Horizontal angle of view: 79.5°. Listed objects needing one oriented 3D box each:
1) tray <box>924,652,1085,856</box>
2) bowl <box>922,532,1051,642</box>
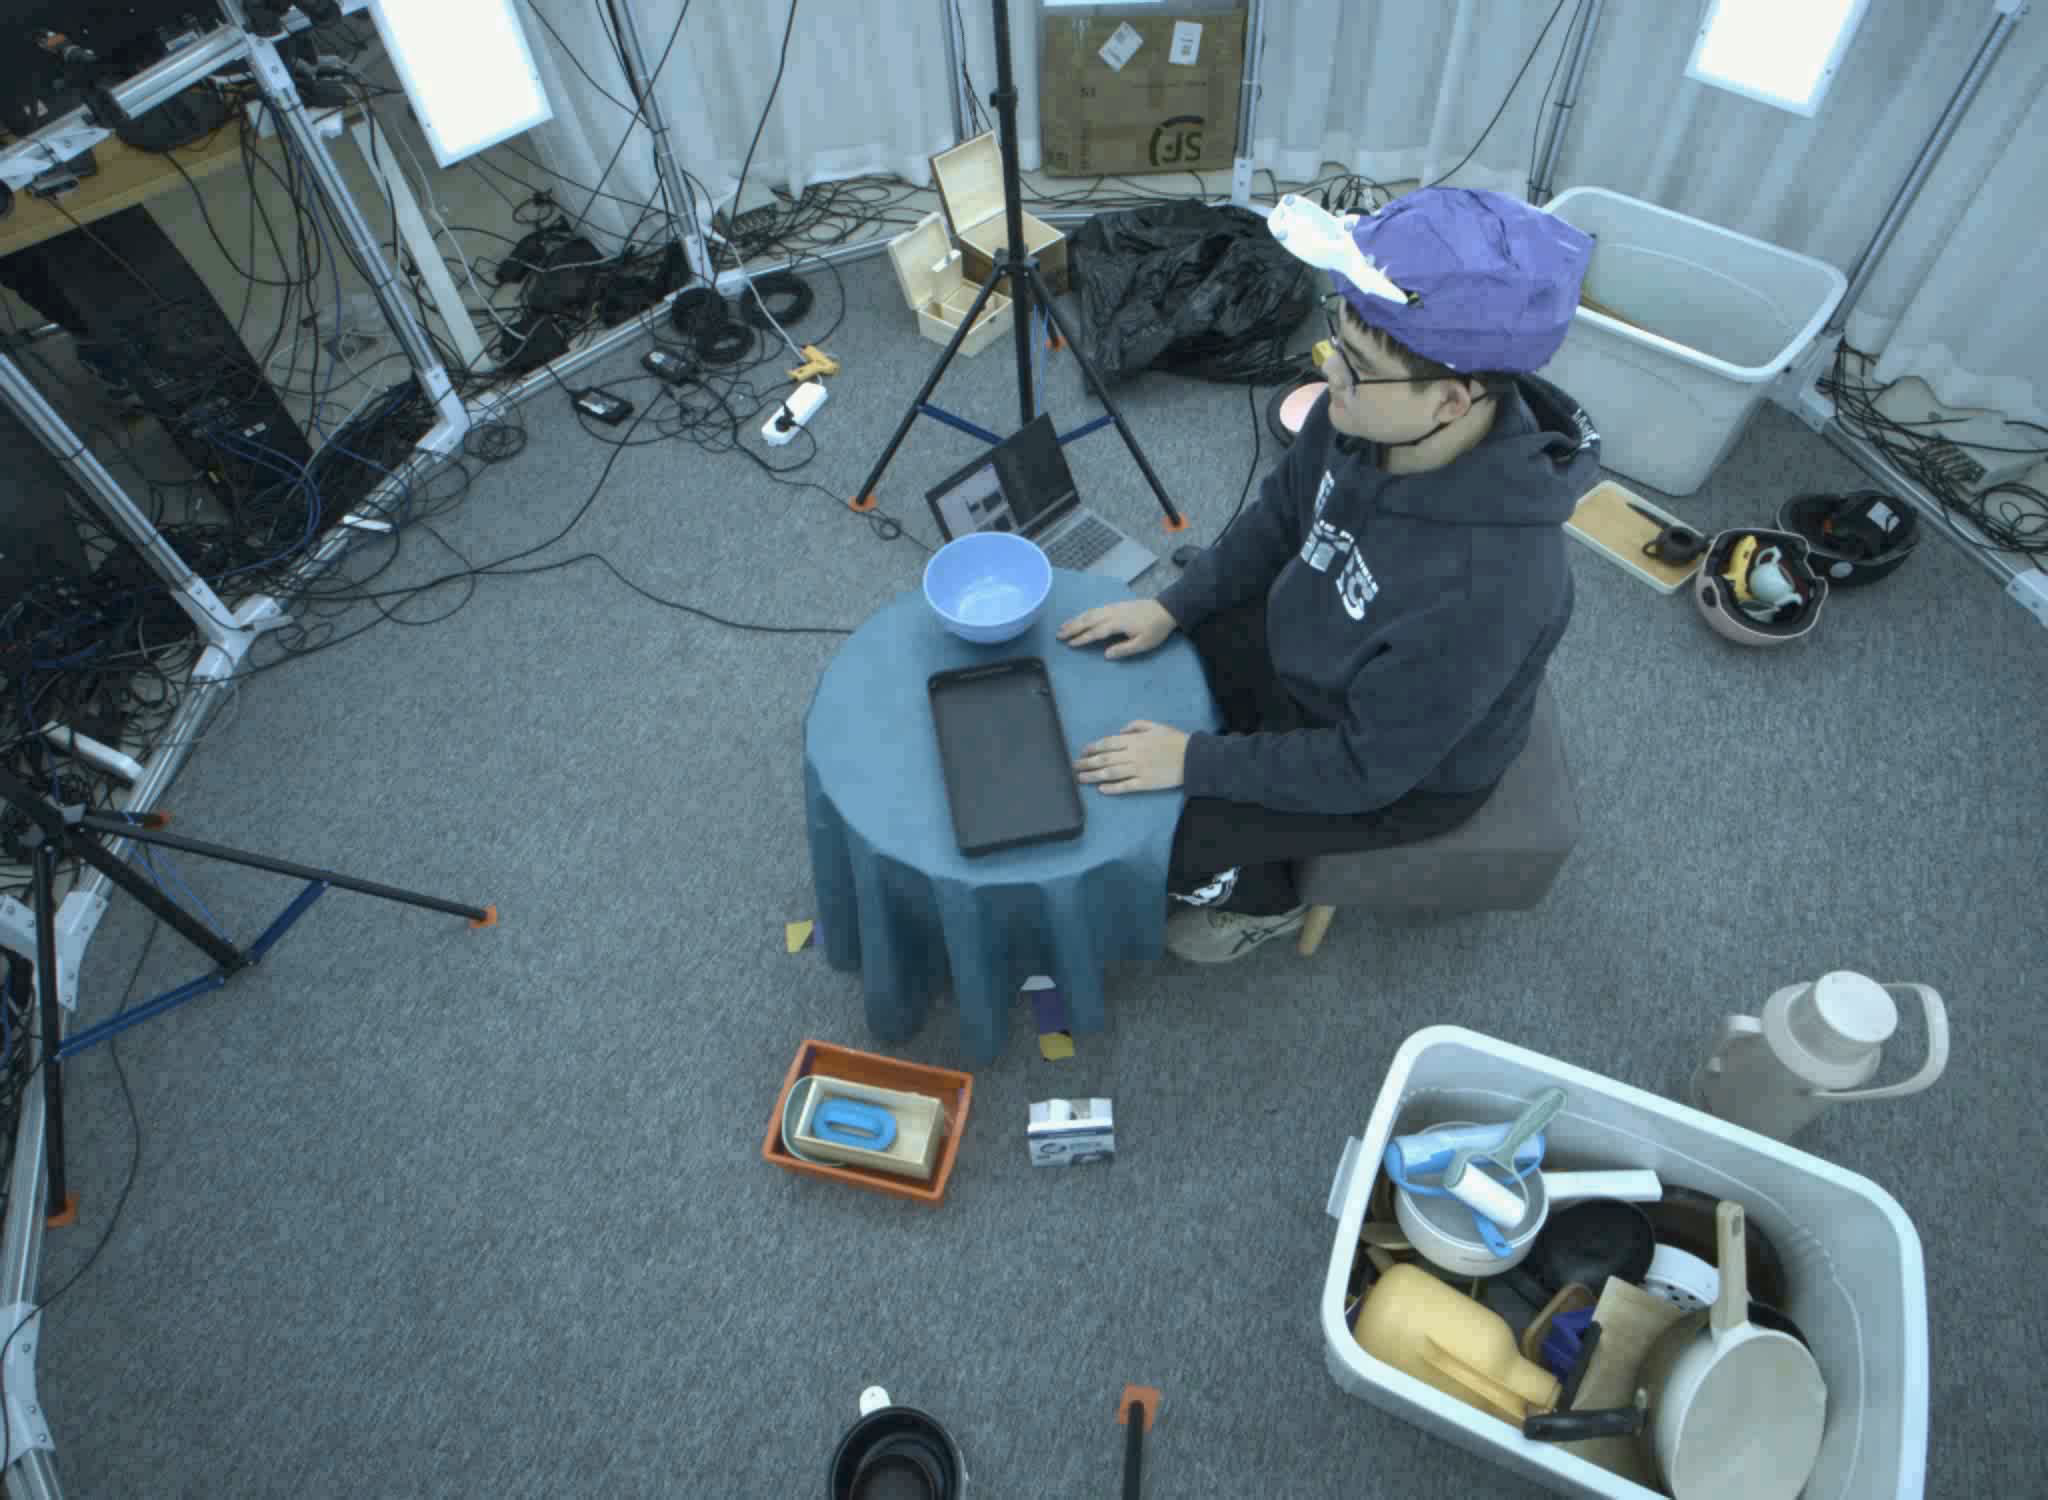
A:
[{"bbox_3d":[-0.032,0.000,1.765,0.185,0.037,0.313,-10,55,-6],"label":"tray"},{"bbox_3d":[-0.055,-0.237,1.897,0.196,0.096,0.194,-1,53,2],"label":"bowl"}]
